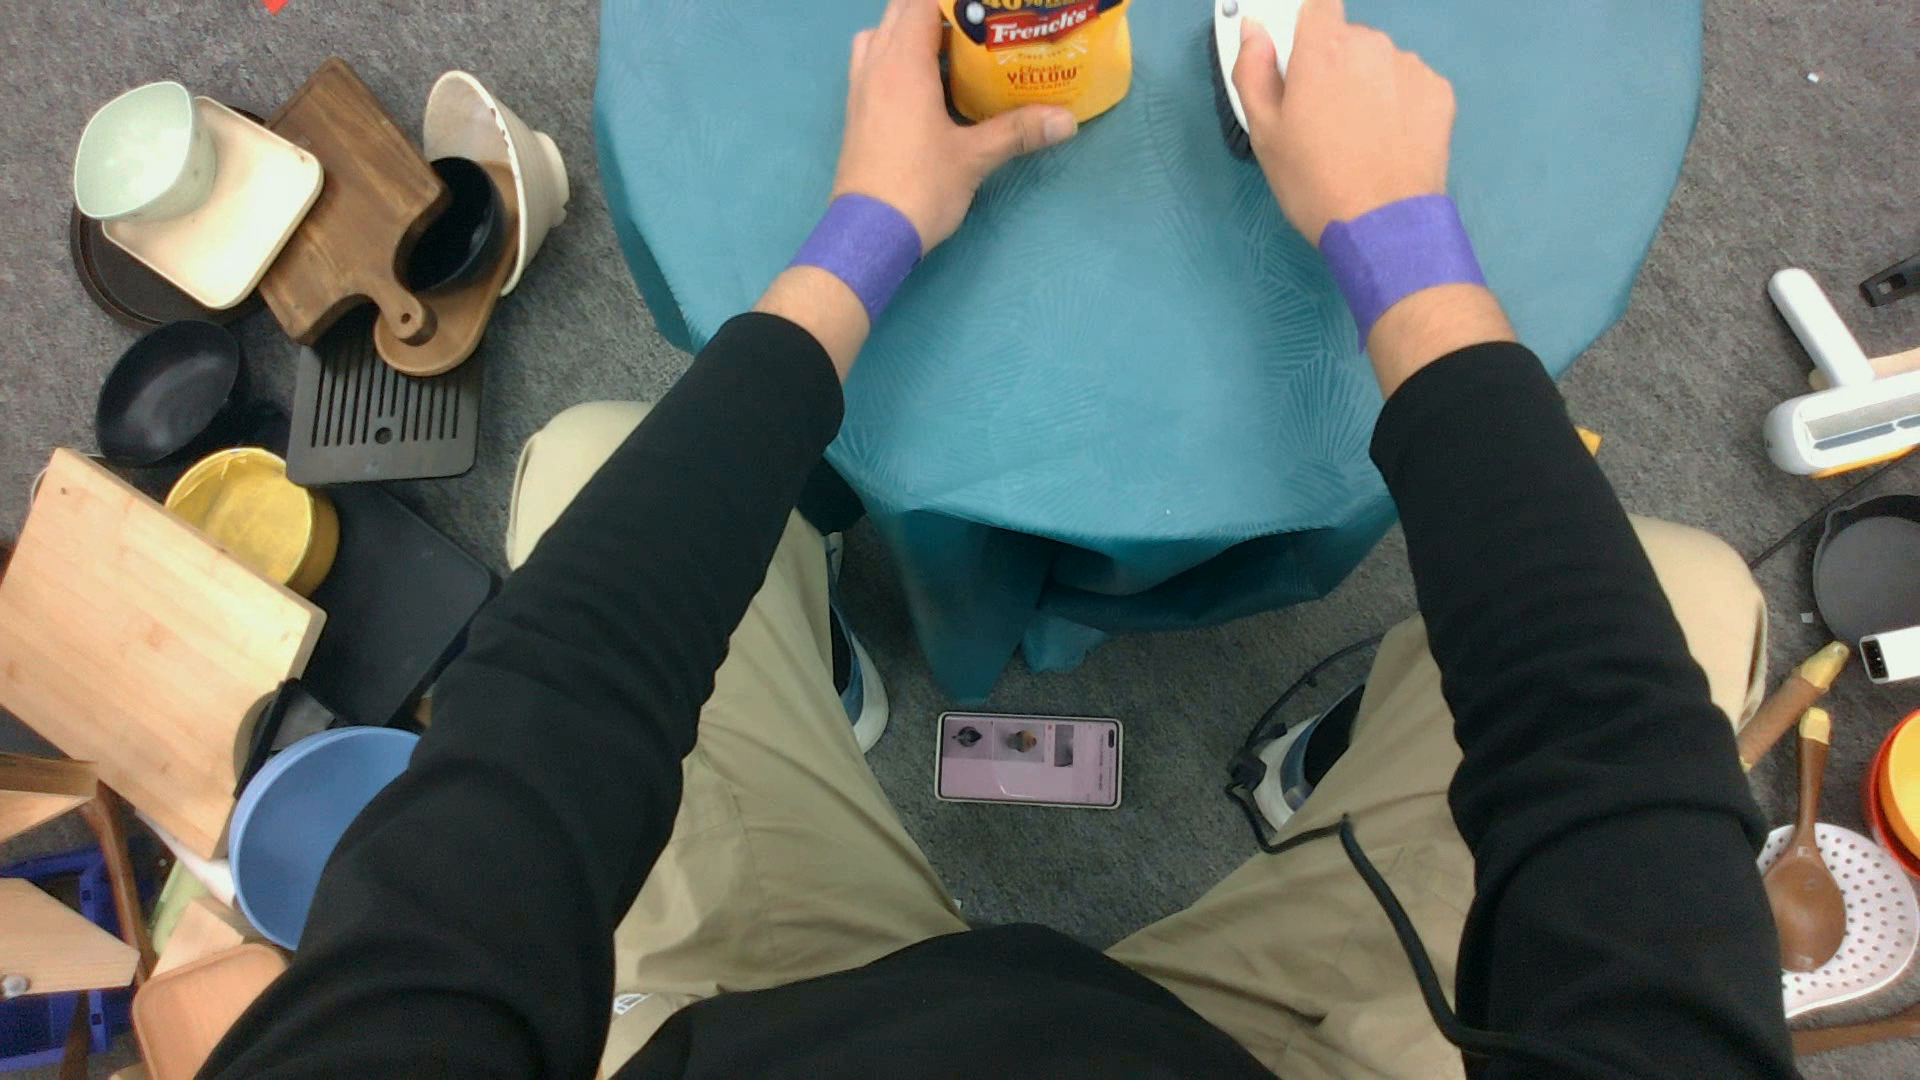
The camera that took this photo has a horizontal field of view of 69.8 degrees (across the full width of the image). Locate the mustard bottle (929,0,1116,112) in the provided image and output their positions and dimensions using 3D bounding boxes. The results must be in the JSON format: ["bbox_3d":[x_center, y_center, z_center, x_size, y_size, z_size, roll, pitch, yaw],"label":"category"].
[{"bbox_3d":[0.032,-0.269,0.669,0.098,0.172,0.059,-9,85,1],"label":"mustard bottle"}]

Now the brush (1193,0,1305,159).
[{"bbox_3d":[0.151,-0.257,0.708,0.050,0.072,0.099,-8,80,3],"label":"brush"}]
